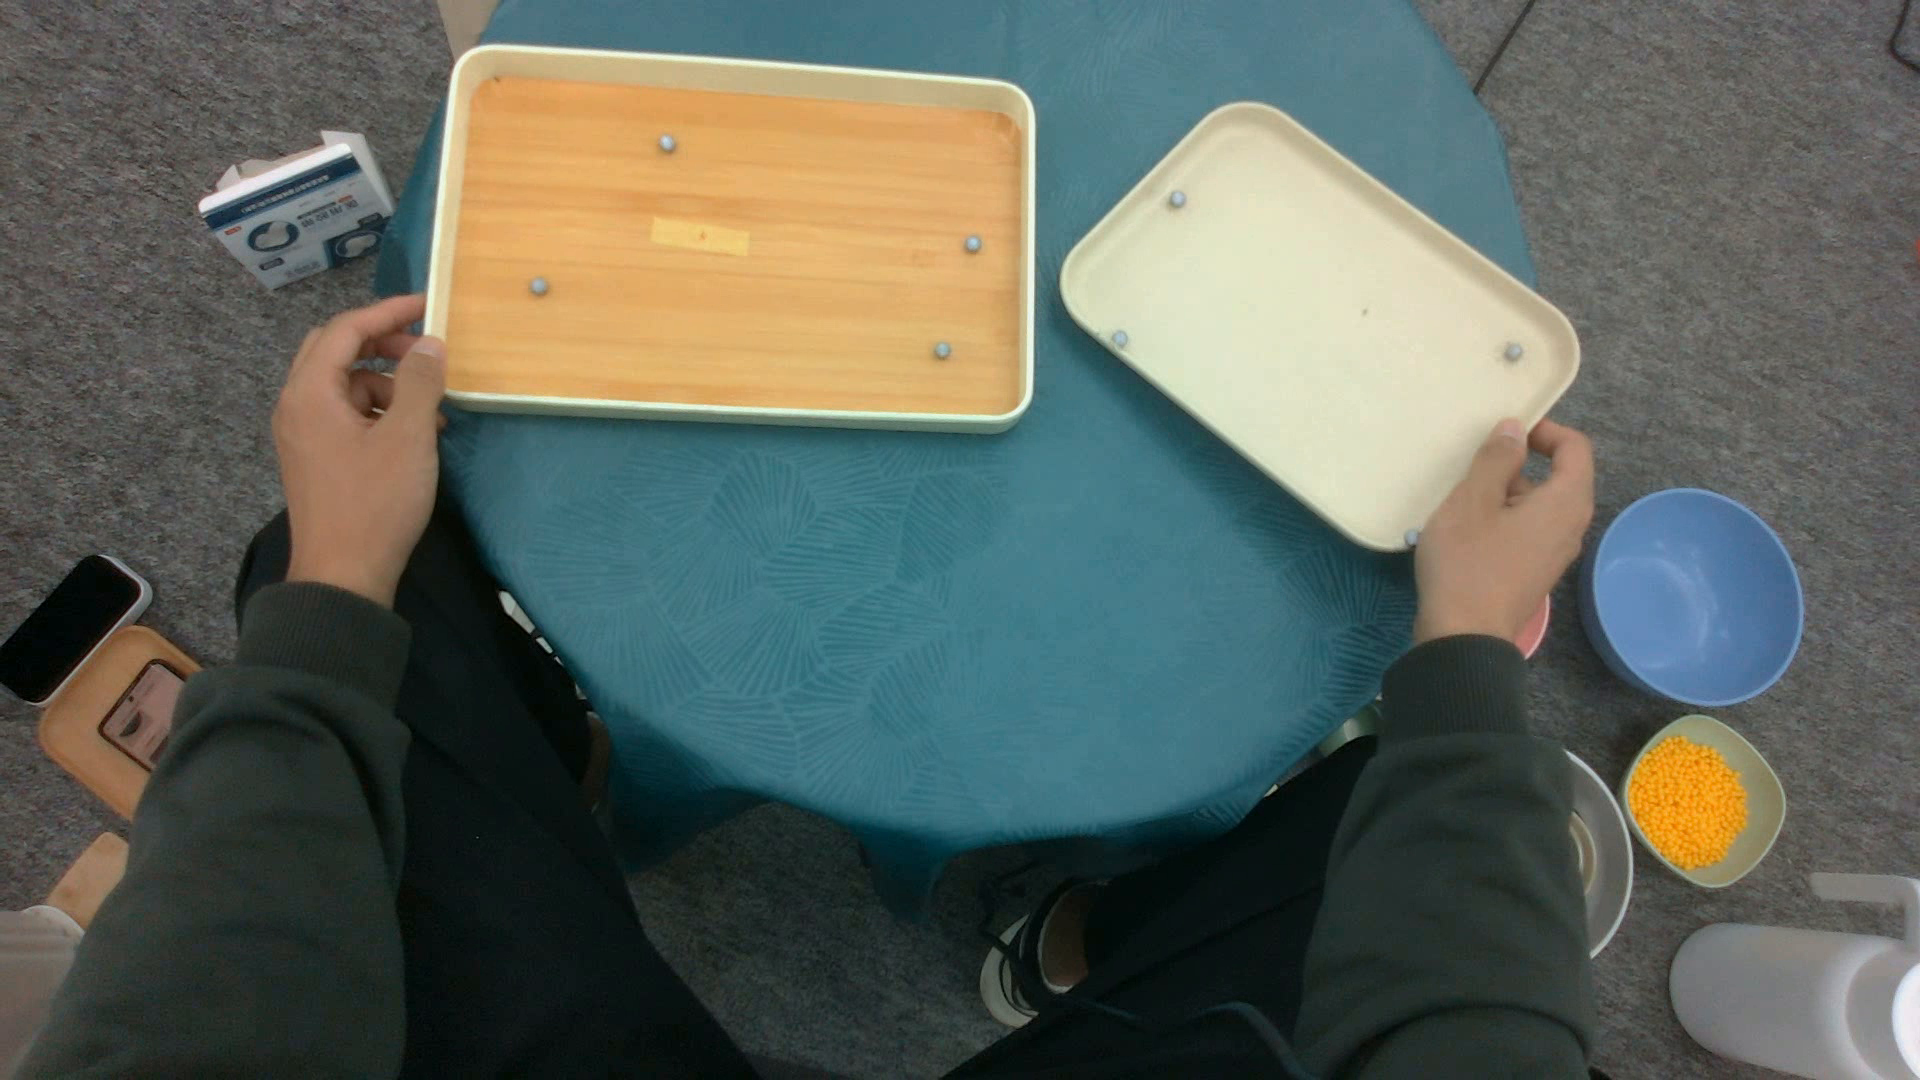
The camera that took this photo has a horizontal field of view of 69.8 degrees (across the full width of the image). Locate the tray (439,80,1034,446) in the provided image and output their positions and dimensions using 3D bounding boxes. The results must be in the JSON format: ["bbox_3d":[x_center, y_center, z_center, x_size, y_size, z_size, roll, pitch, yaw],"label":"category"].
[{"bbox_3d":[-0.112,-0.145,0.727,0.300,0.027,0.192,1,77,-5],"label":"tray"}]

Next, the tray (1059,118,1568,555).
[{"bbox_3d":[0.185,-0.113,0.733,0.240,0.017,0.171,40,76,14],"label":"tray"}]
